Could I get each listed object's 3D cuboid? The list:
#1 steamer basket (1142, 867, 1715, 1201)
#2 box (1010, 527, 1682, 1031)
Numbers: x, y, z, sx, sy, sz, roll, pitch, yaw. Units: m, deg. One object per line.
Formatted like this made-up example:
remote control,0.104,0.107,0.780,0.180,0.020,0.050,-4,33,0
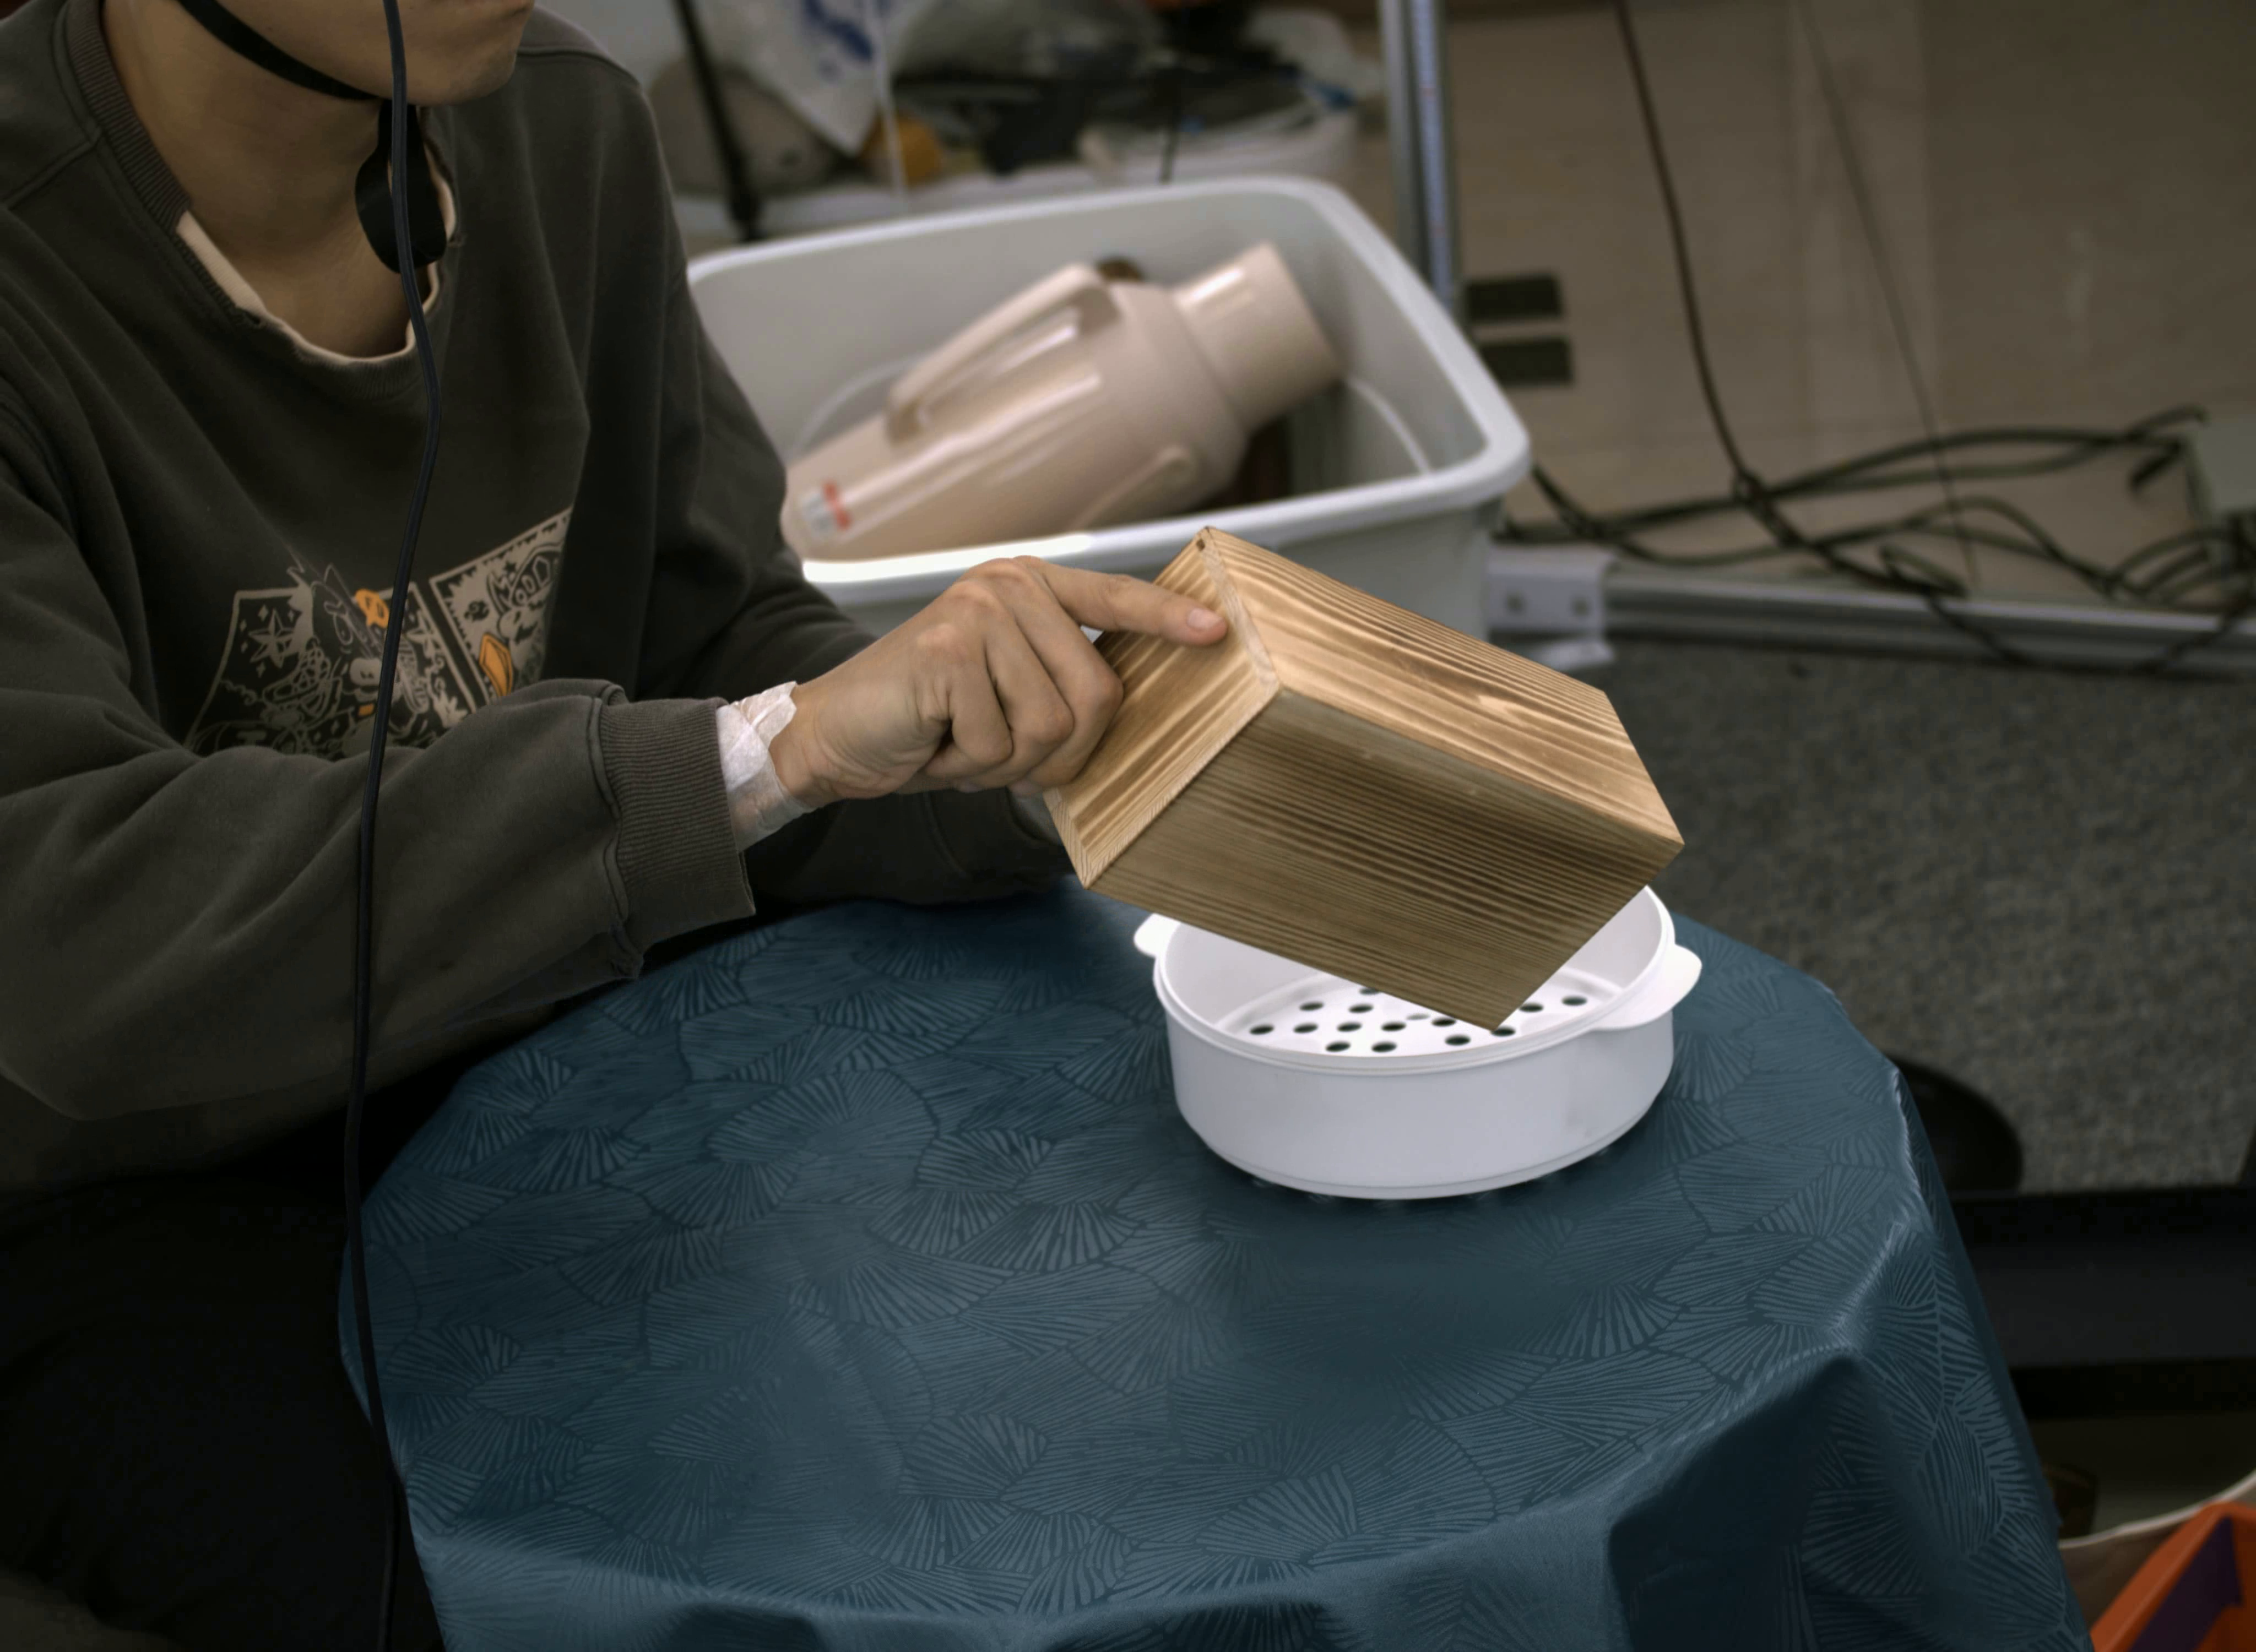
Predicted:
steamer basket,0.116,0.074,2.176,0.229,0.070,0.199,8,28,31
box,0.078,-0.014,1.994,0.213,0.108,0.079,20,35,-41
